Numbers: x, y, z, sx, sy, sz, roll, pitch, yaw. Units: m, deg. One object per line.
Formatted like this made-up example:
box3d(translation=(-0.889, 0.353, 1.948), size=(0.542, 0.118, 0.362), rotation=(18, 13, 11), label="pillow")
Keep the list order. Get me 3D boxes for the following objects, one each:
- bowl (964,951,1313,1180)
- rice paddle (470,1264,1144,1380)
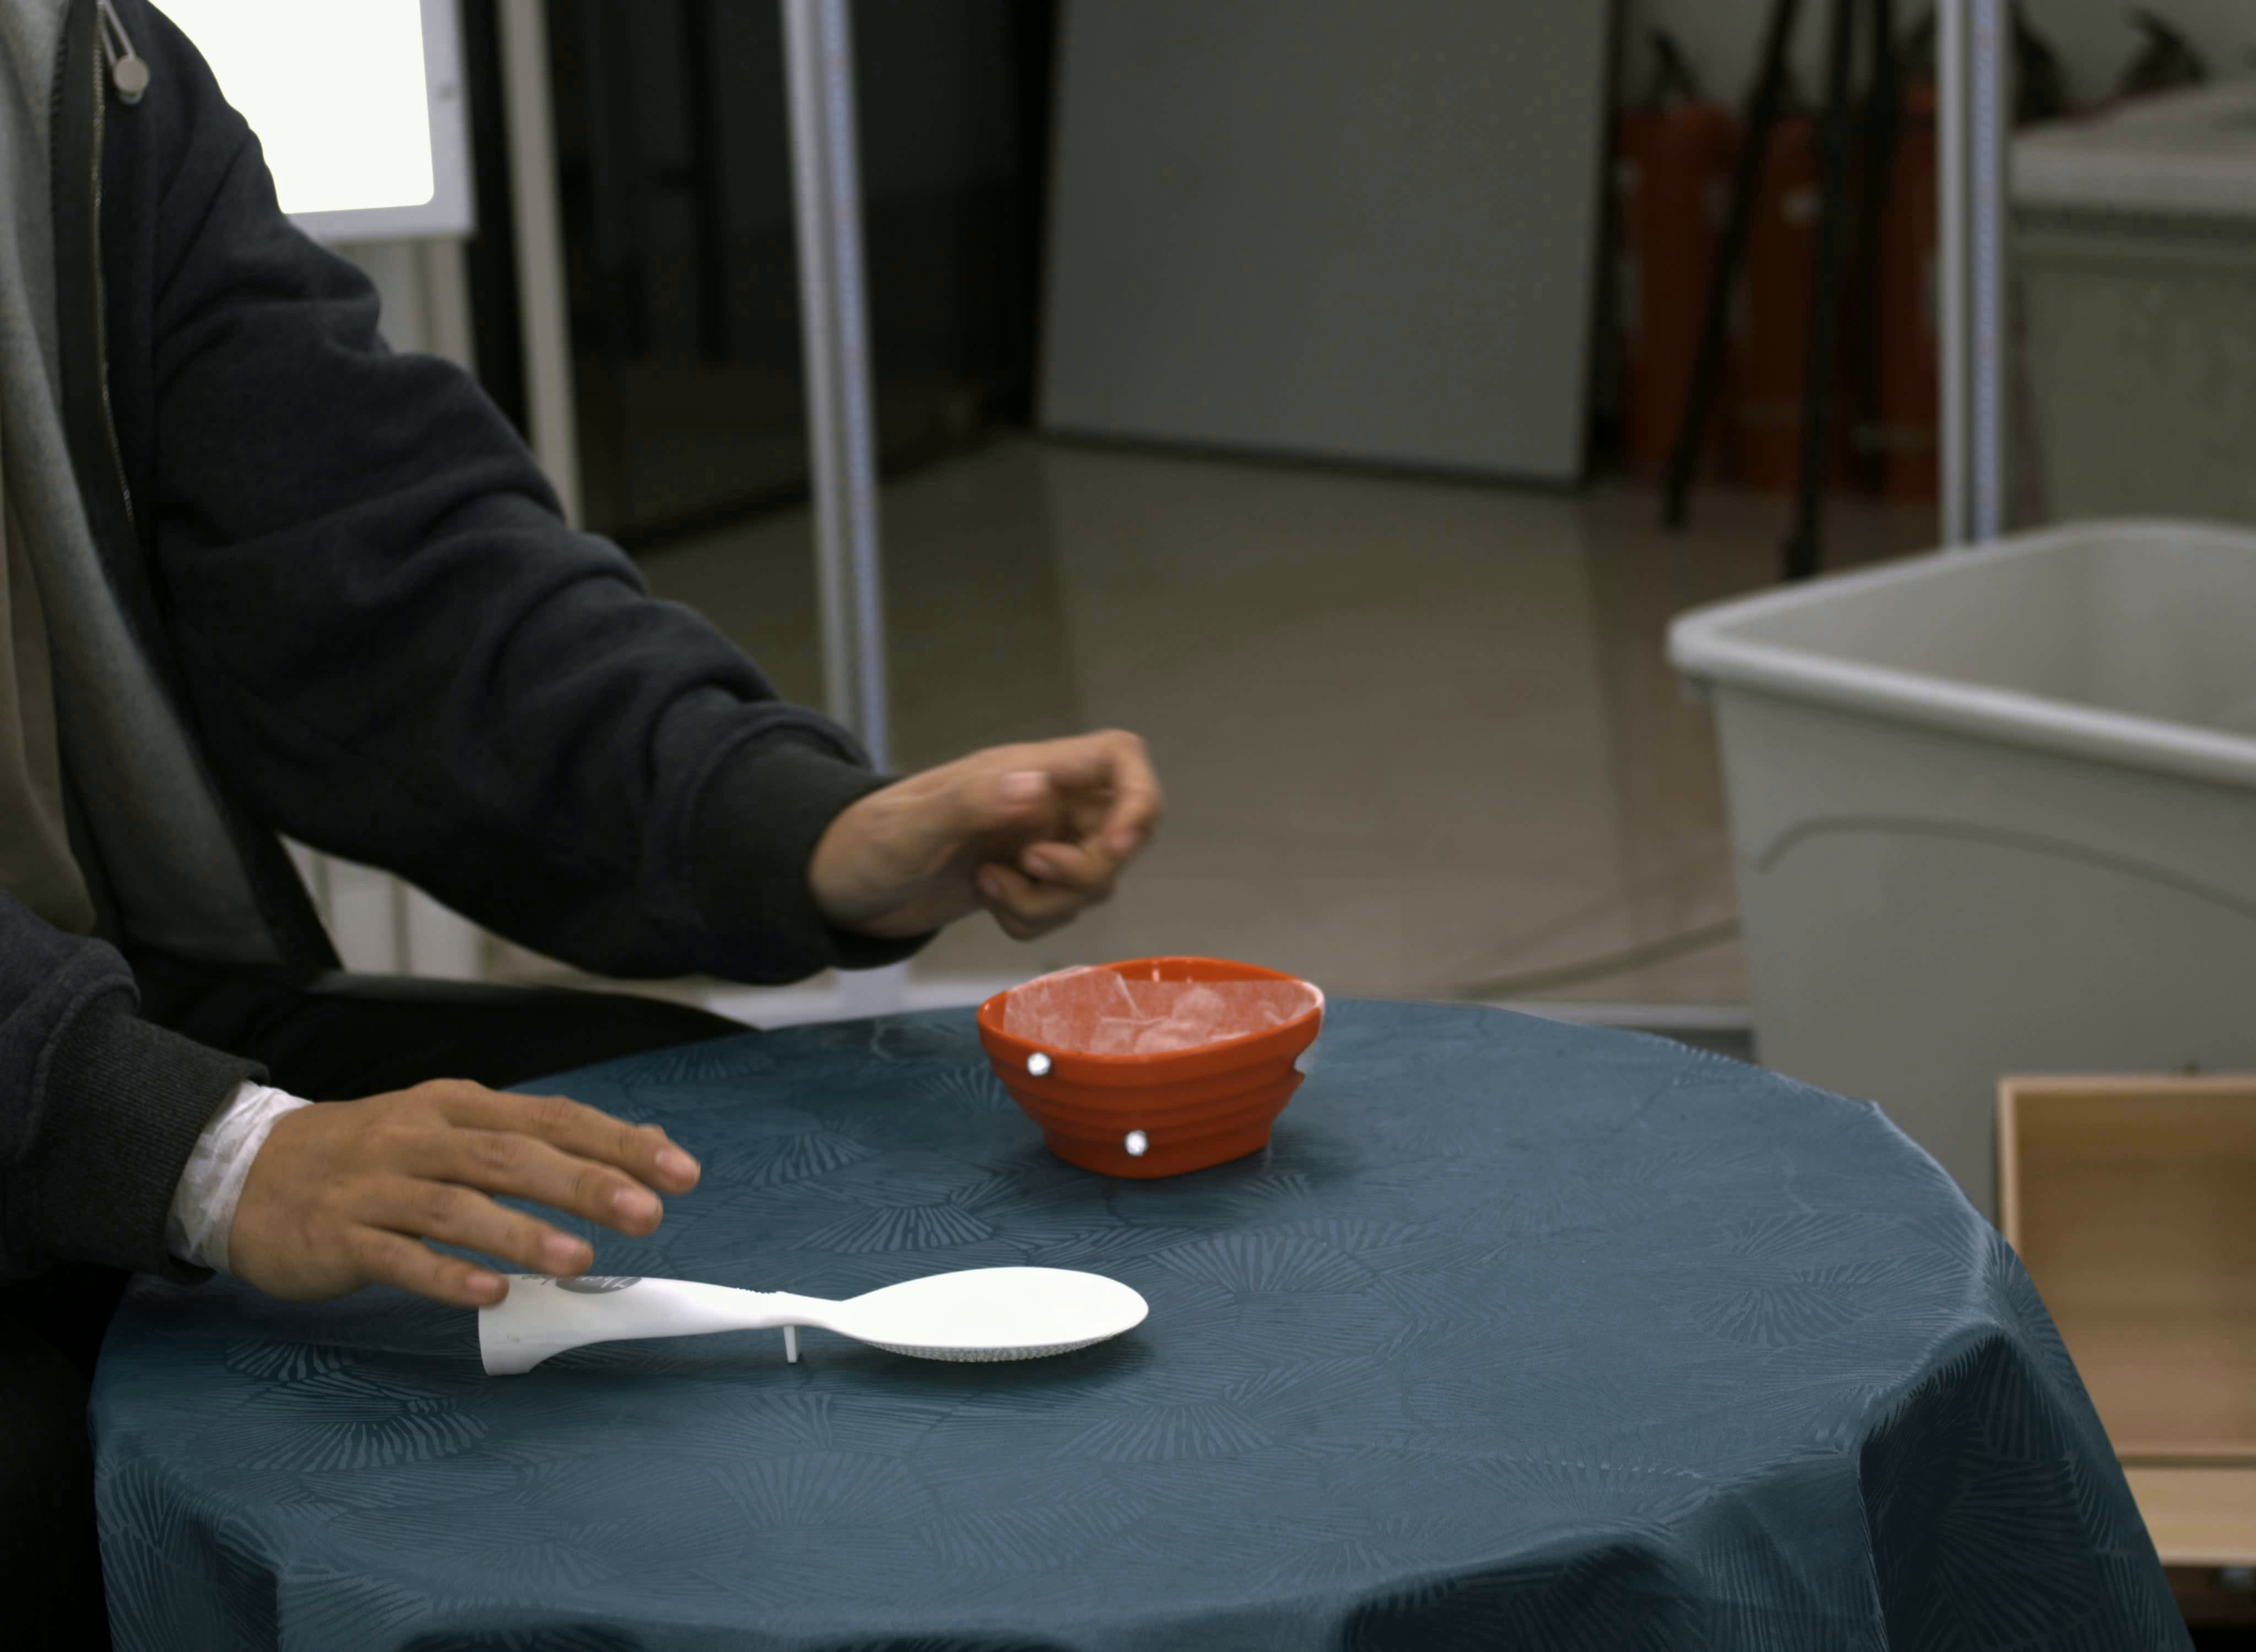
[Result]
box3d(translation=(0.005, 0.082, 1.806), size=(0.117, 0.052, 0.119), rotation=(-5, 14, 0), label="bowl")
box3d(translation=(-0.096, 0.147, 1.628), size=(0.203, 0.030, 0.069), rotation=(-3, 15, 5), label="rice paddle")
